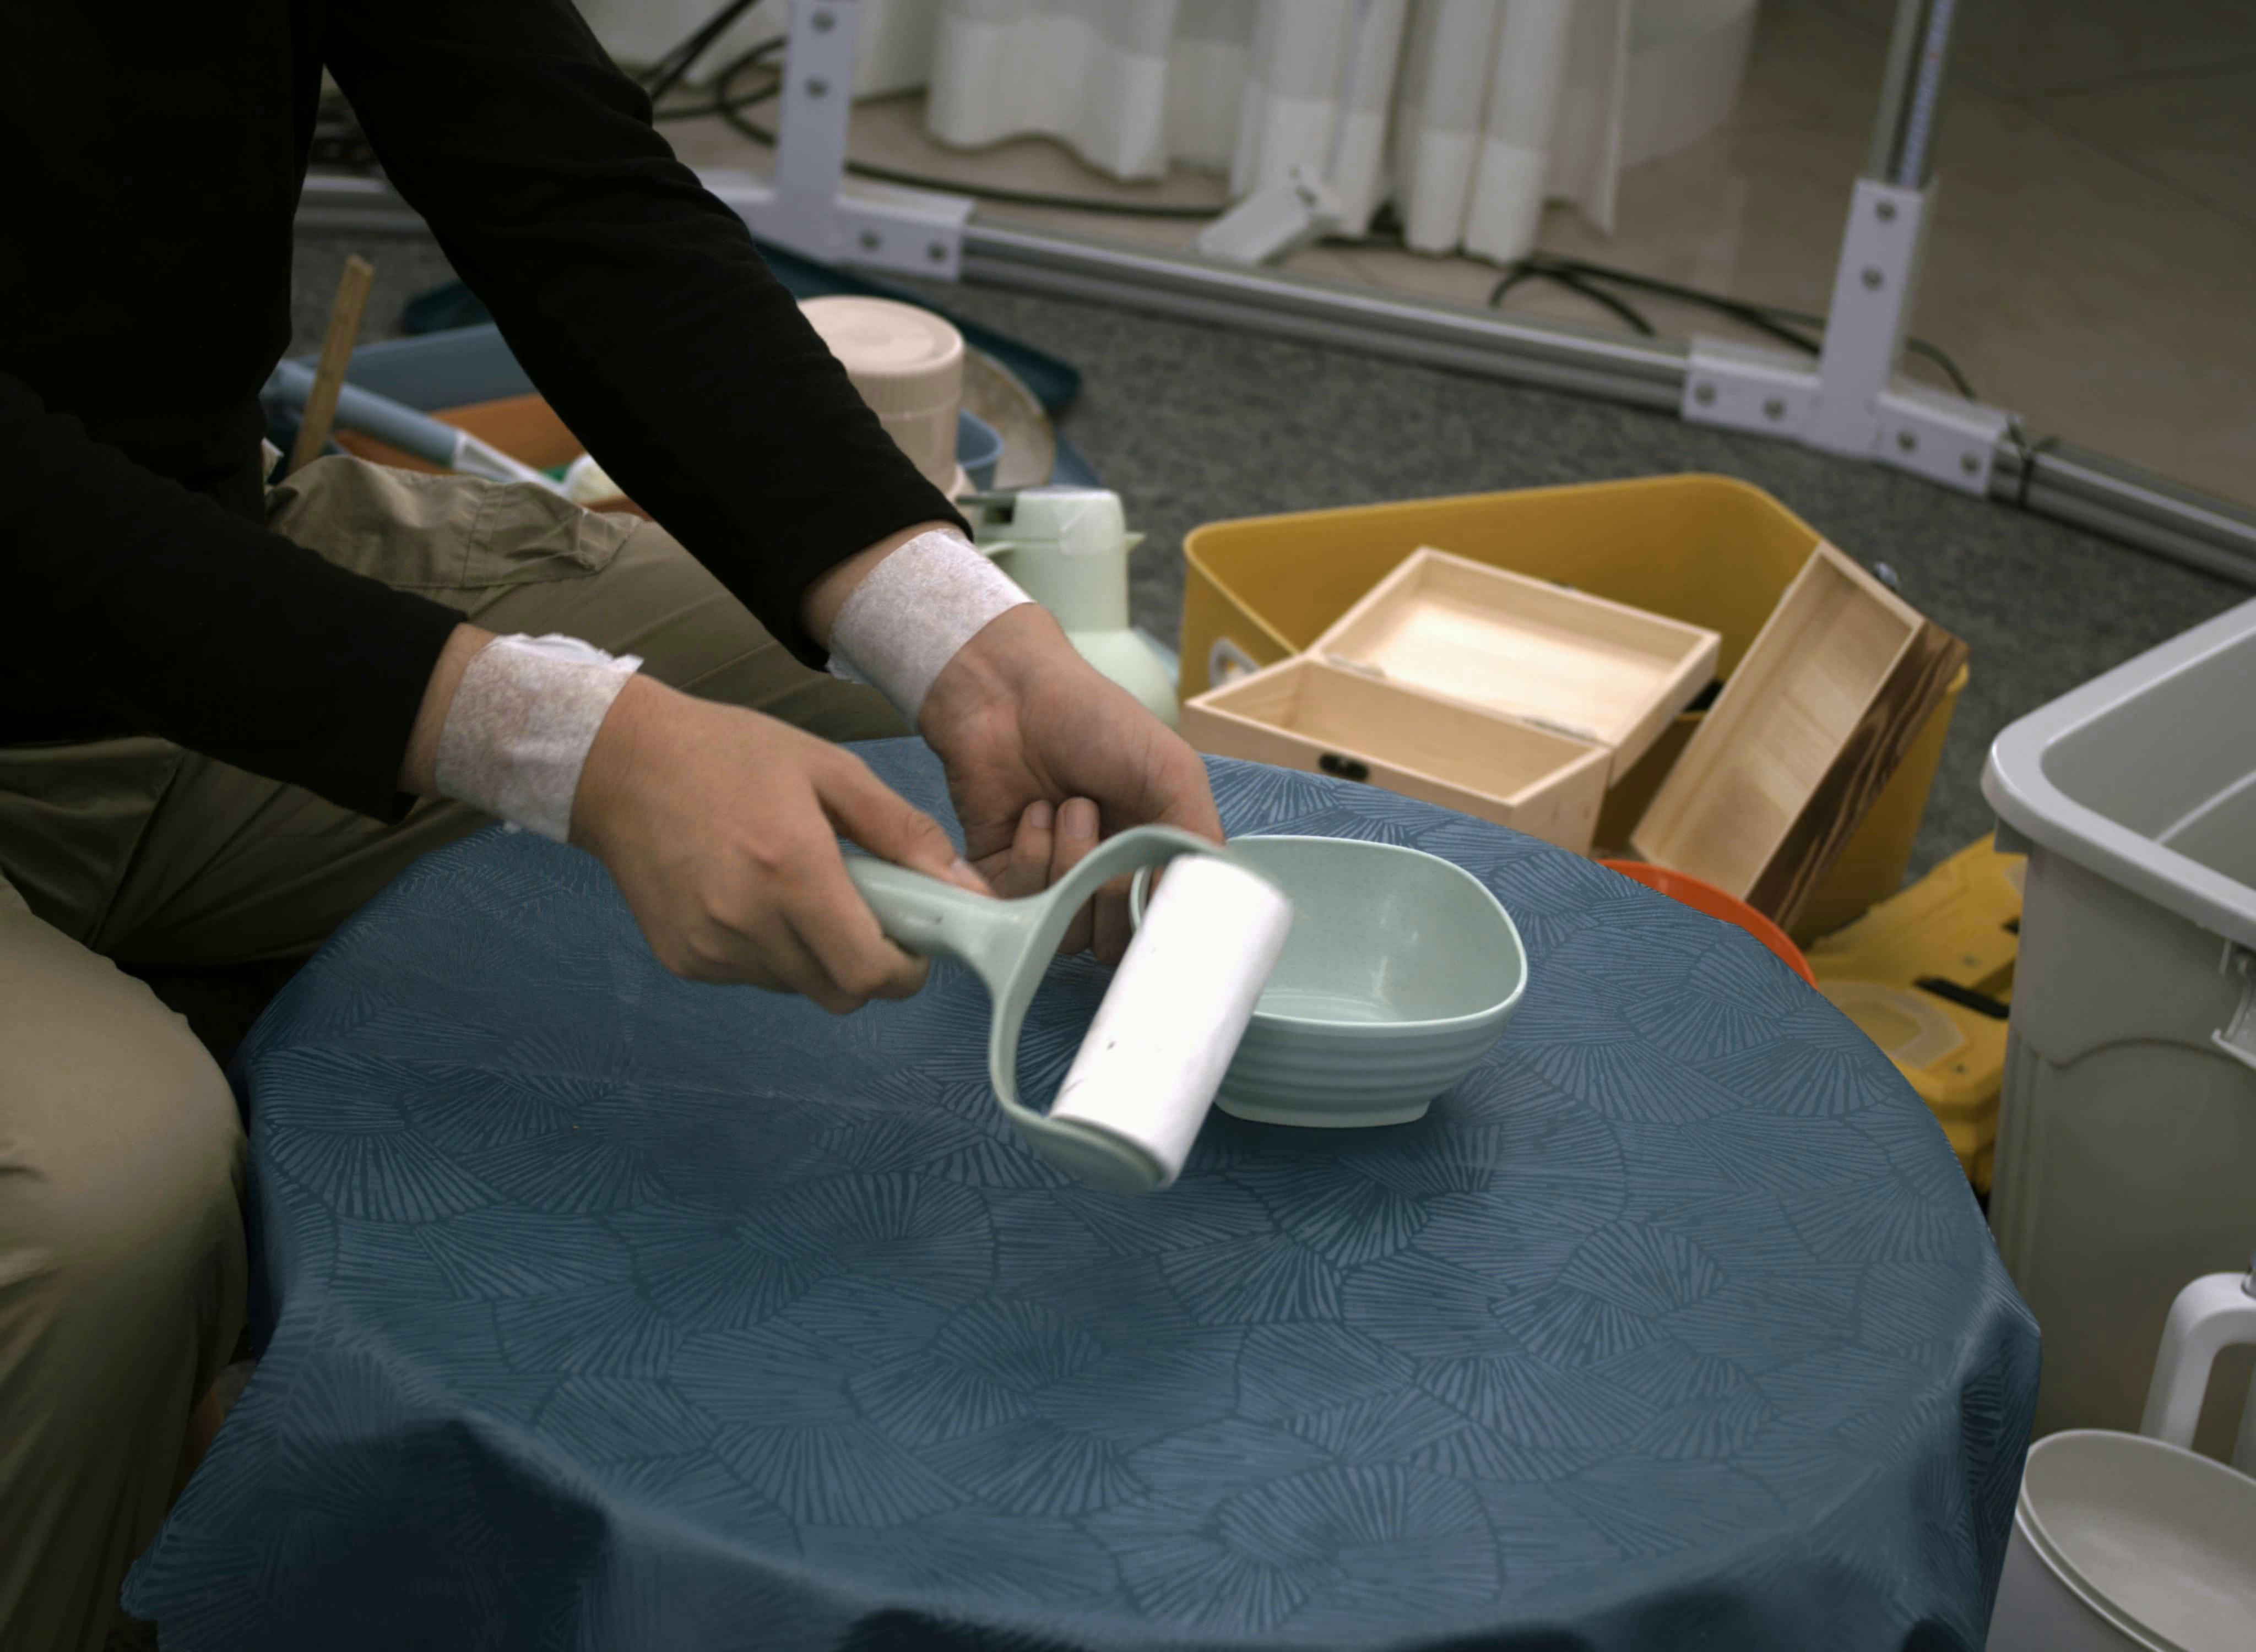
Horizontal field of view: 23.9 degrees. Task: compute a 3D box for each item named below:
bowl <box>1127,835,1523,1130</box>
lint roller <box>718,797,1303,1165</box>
[{"bbox_3d":[0.066,0.061,1.878,0.151,0.058,0.152,6,27,-4],"label":"bowl"},{"bbox_3d":[-0.048,0.032,1.755,0.198,0.048,0.117,18,70,19],"label":"lint roller"}]
